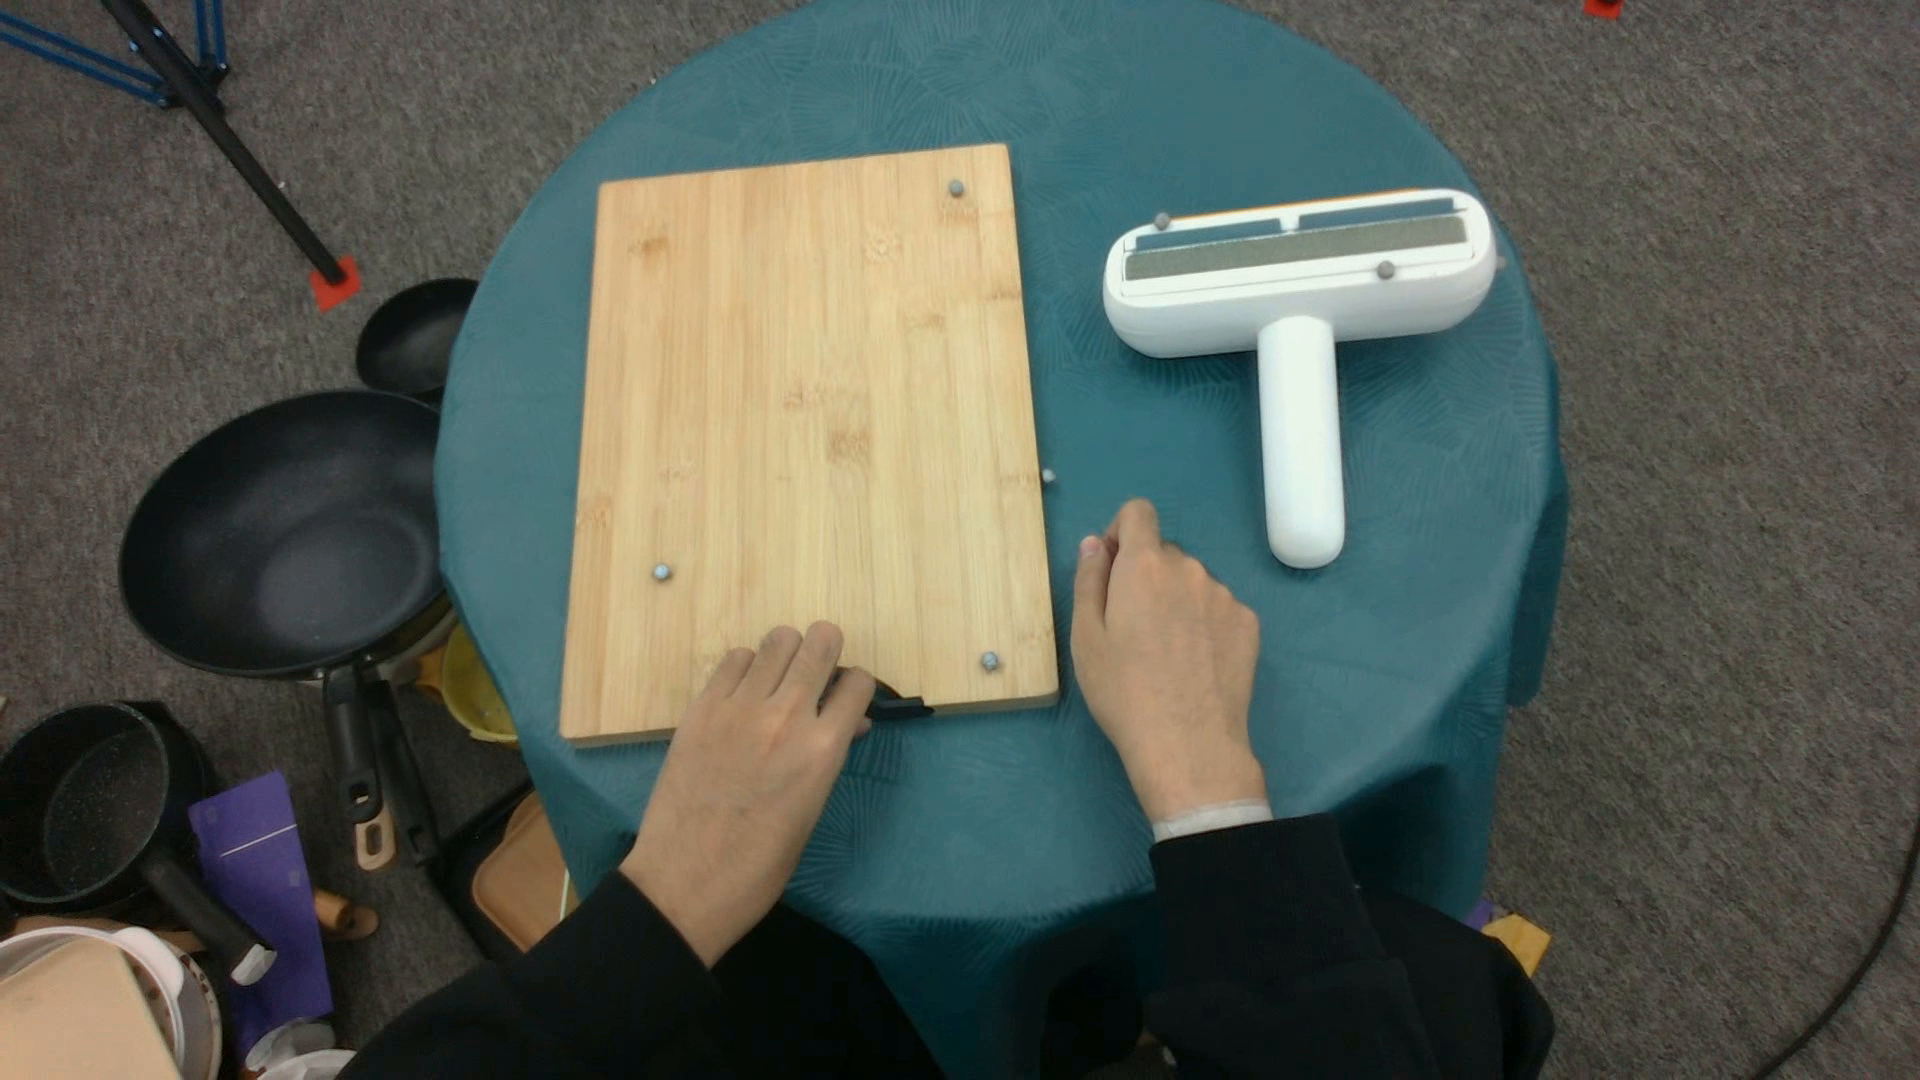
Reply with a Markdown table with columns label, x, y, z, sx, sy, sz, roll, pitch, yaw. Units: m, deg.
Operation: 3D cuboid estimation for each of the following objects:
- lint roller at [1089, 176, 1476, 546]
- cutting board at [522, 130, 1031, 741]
| label | x | y | z | sx | sy | sz | roll | pitch | yaw |
| --- | --- | --- | --- | --- | --- | --- | --- | --- | --- |
| lint roller | 0.158 | -0.093 | 0.693 | 0.192 | 0.074 | 0.193 | 2 | 66 | 11 |
| cutting board | -0.097 | -0.071 | 0.729 | 0.250 | 0.023 | 0.350 | -6 | 64 | 1 |
